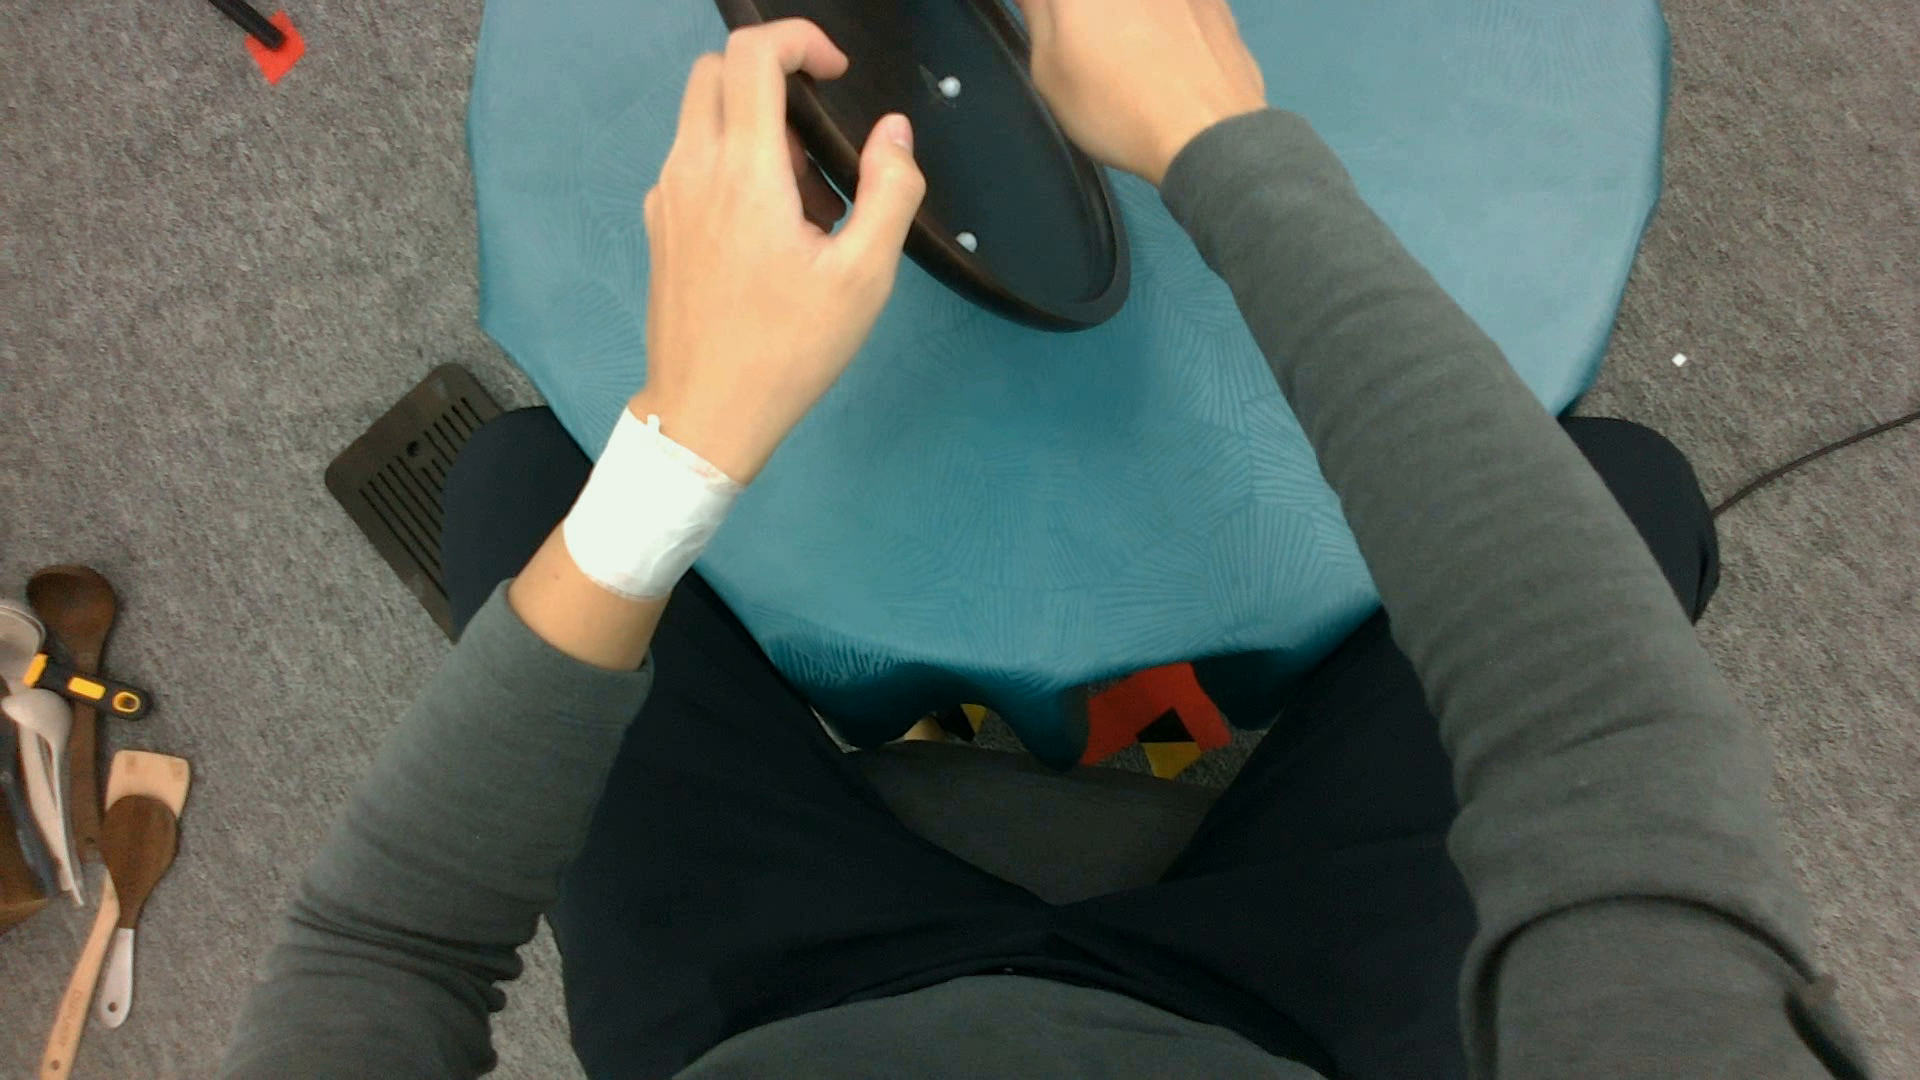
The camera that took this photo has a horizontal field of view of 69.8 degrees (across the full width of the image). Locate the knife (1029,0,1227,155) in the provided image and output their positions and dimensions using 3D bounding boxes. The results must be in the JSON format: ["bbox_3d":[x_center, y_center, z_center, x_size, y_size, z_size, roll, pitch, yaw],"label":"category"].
[{"bbox_3d":[0.016,-0.274,0.623,0.021,0.081,0.303,-49,65,25],"label":"knife"}]

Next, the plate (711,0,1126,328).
[{"bbox_3d":[-0.015,-0.197,0.588,0.029,0.255,0.255,-33,80,29],"label":"plate"}]
